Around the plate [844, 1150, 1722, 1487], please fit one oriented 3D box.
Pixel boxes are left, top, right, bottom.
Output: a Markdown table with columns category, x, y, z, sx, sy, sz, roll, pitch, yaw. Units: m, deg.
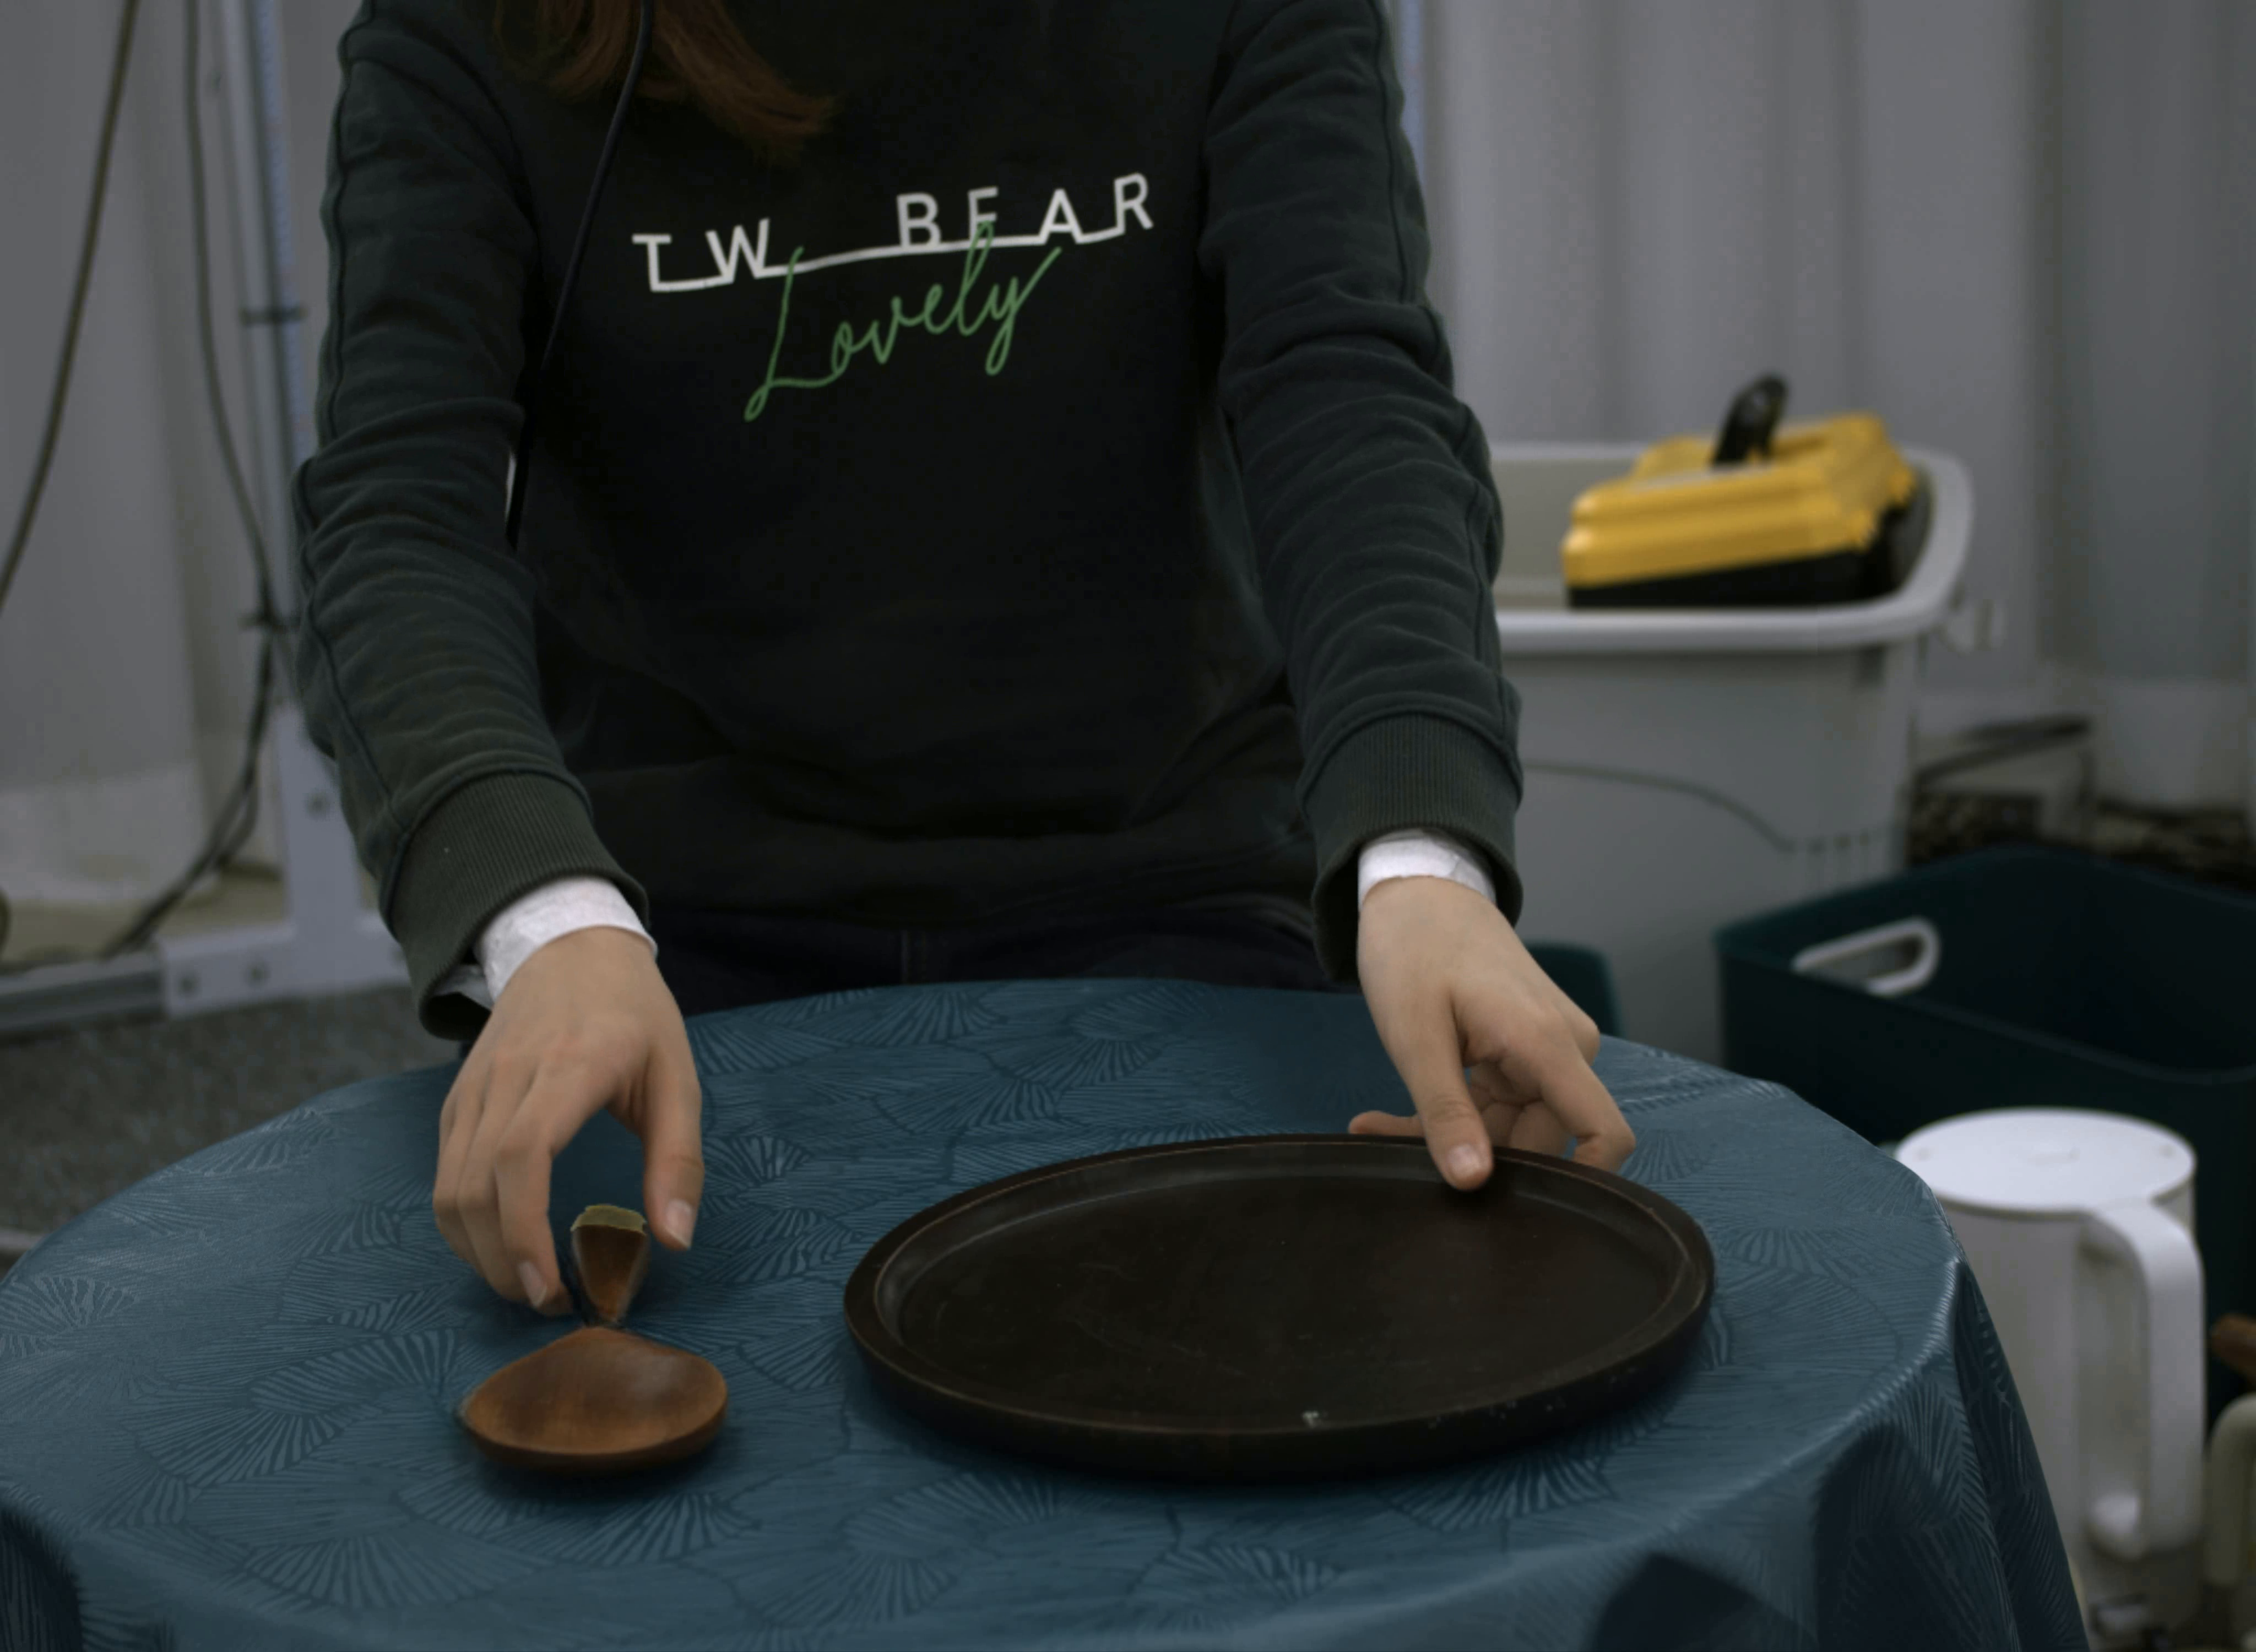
| category | x | y | z | sx | sy | sz | roll | pitch | yaw |
| --- | --- | --- | --- | --- | --- | --- | --- | --- | --- |
| plate | 0.044 | 0.139 | 1.575 | 0.254 | 0.029 | 0.256 | -1 | 15 | 0 |

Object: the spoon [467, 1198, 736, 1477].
| category | x | y | z | sx | sy | sz | roll | pitch | yaw |
| --- | --- | --- | --- | --- | --- | --- | --- | --- | --- |
| spoon | -0.151 | 0.149 | 1.581 | 0.075 | 0.017 | 0.217 | -4 | 15 | -3 |
